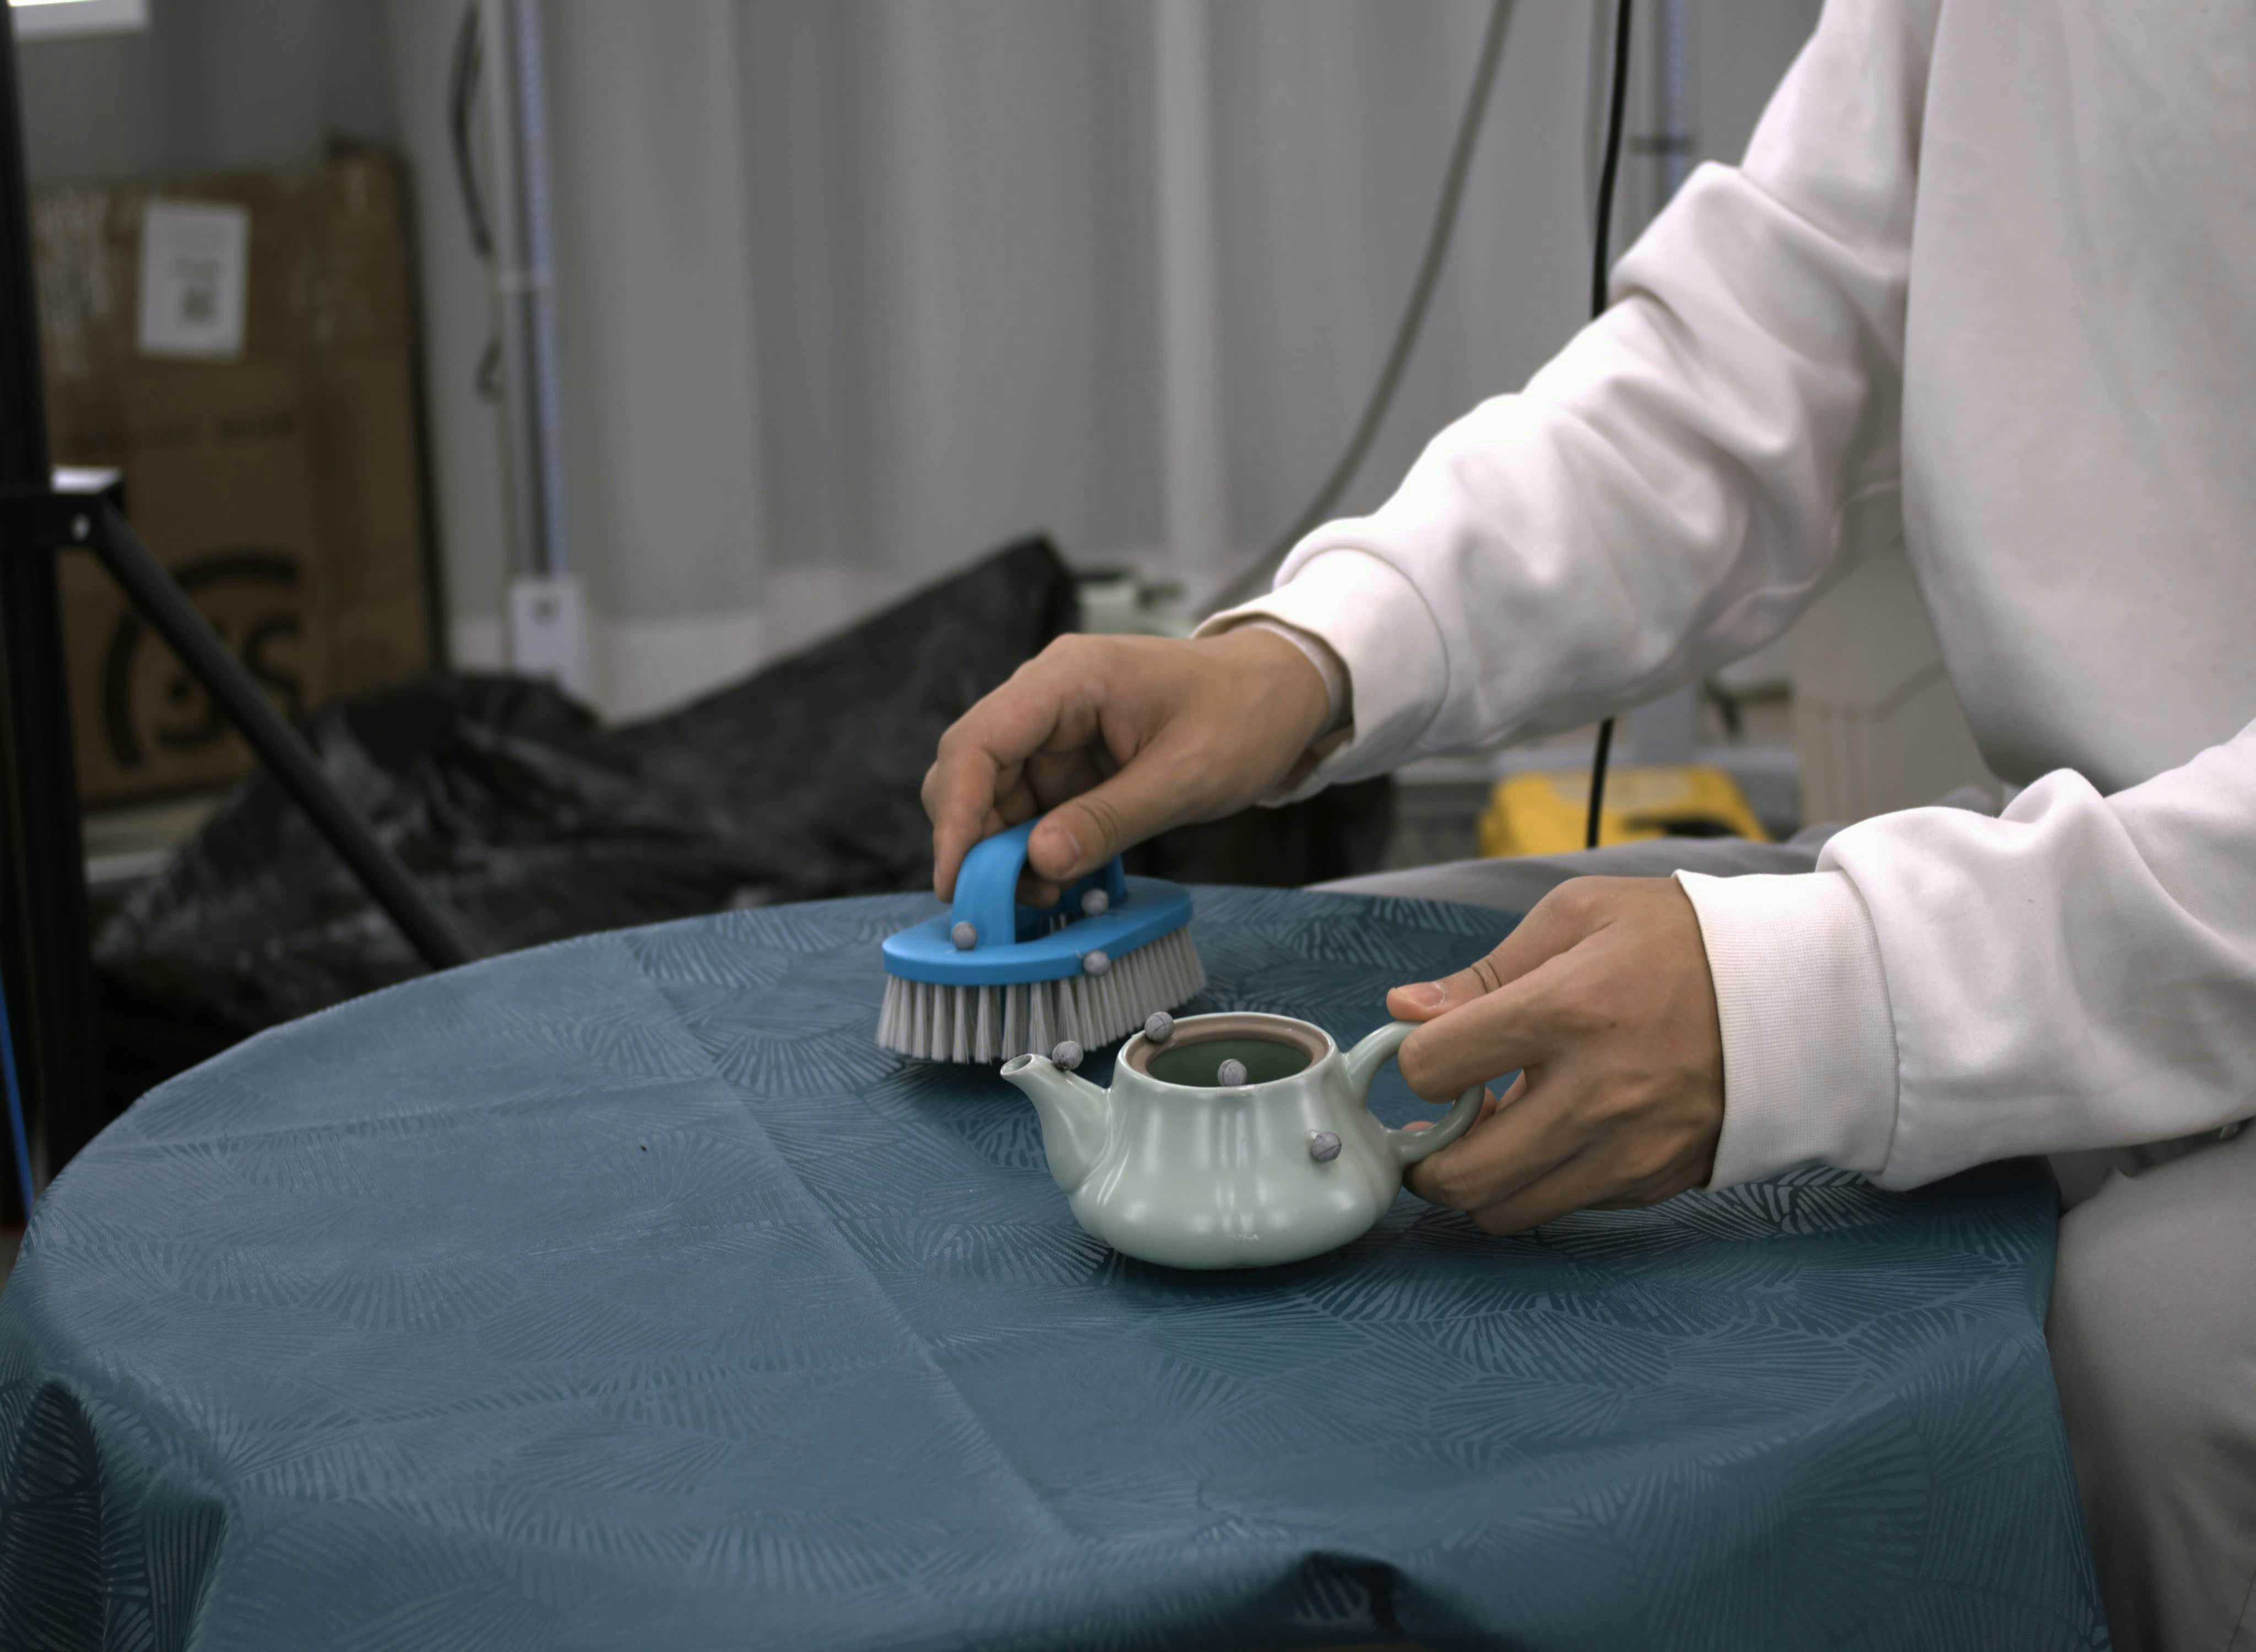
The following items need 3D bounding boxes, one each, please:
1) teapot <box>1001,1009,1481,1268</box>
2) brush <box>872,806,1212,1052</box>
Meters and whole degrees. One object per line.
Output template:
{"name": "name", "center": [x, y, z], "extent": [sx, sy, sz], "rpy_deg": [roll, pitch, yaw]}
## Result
{"name": "teapot", "center": [0.034, 0.088, 1.508], "extent": [0.136, 0.061, 0.097], "rpy_deg": [-6, 17, -2]}
{"name": "brush", "center": [-0.029, 0.029, 1.702], "extent": [0.085, 0.064, 0.139], "rpy_deg": [-4, 7, 25]}
